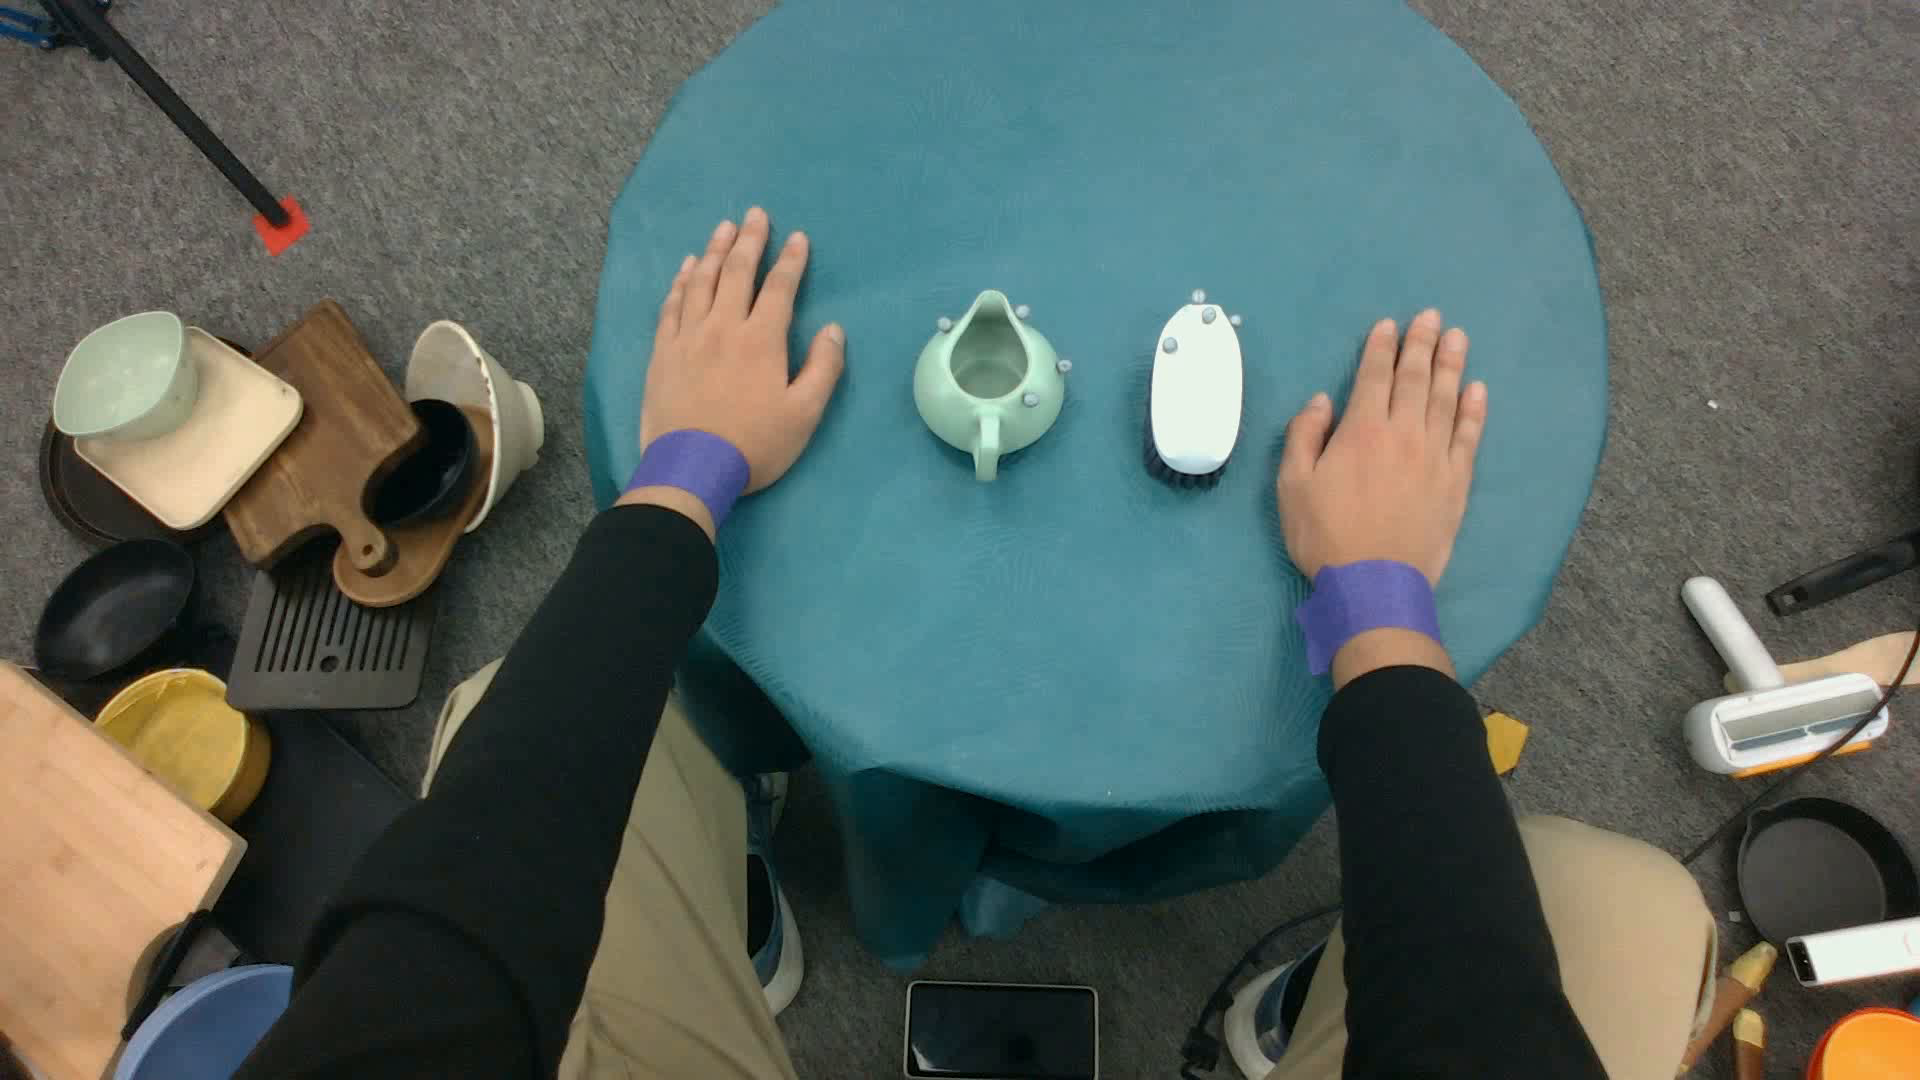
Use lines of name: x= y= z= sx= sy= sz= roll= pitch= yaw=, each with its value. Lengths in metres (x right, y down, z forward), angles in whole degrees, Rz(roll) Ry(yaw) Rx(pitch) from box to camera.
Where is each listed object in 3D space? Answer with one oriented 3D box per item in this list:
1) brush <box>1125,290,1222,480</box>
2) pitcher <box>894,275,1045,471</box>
brush: x=0.121 y=-0.092 z=0.761 sx=0.050 sy=0.072 sz=0.099 roll=7 pitch=69 yaw=3
pitcher: x=0.006 y=-0.088 z=0.770 sx=0.086 sy=0.060 sz=0.108 roll=-2 pitch=73 yaw=0
